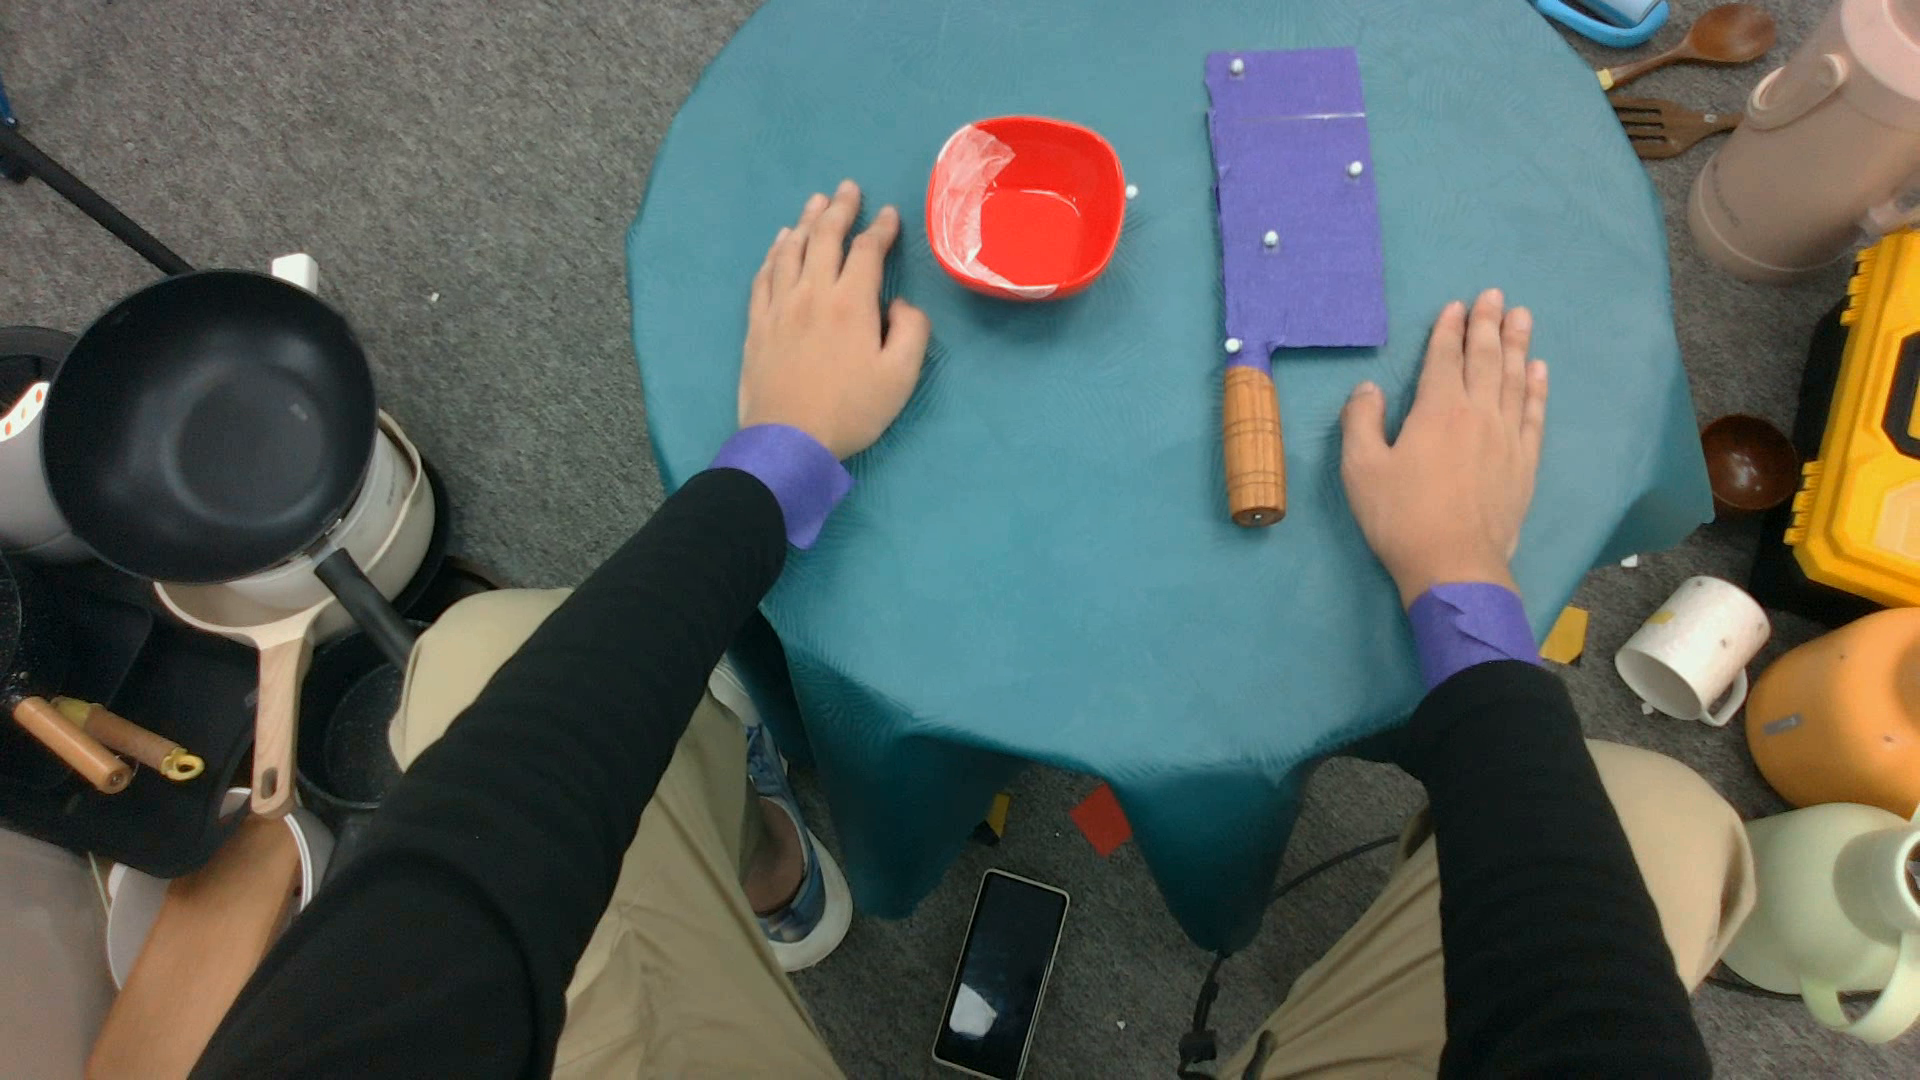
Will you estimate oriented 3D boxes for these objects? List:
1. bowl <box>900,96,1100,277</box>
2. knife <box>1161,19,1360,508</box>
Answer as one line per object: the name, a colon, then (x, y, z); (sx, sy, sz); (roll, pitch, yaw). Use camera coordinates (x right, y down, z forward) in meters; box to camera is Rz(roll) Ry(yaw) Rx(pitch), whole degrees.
bowl: (0.022, -0.191, 0.781); (0.119, 0.051, 0.119); (0, 69, 0)
knife: (0.178, -0.170, 0.786); (0.104, 0.032, 0.316); (-2, 71, 1)
